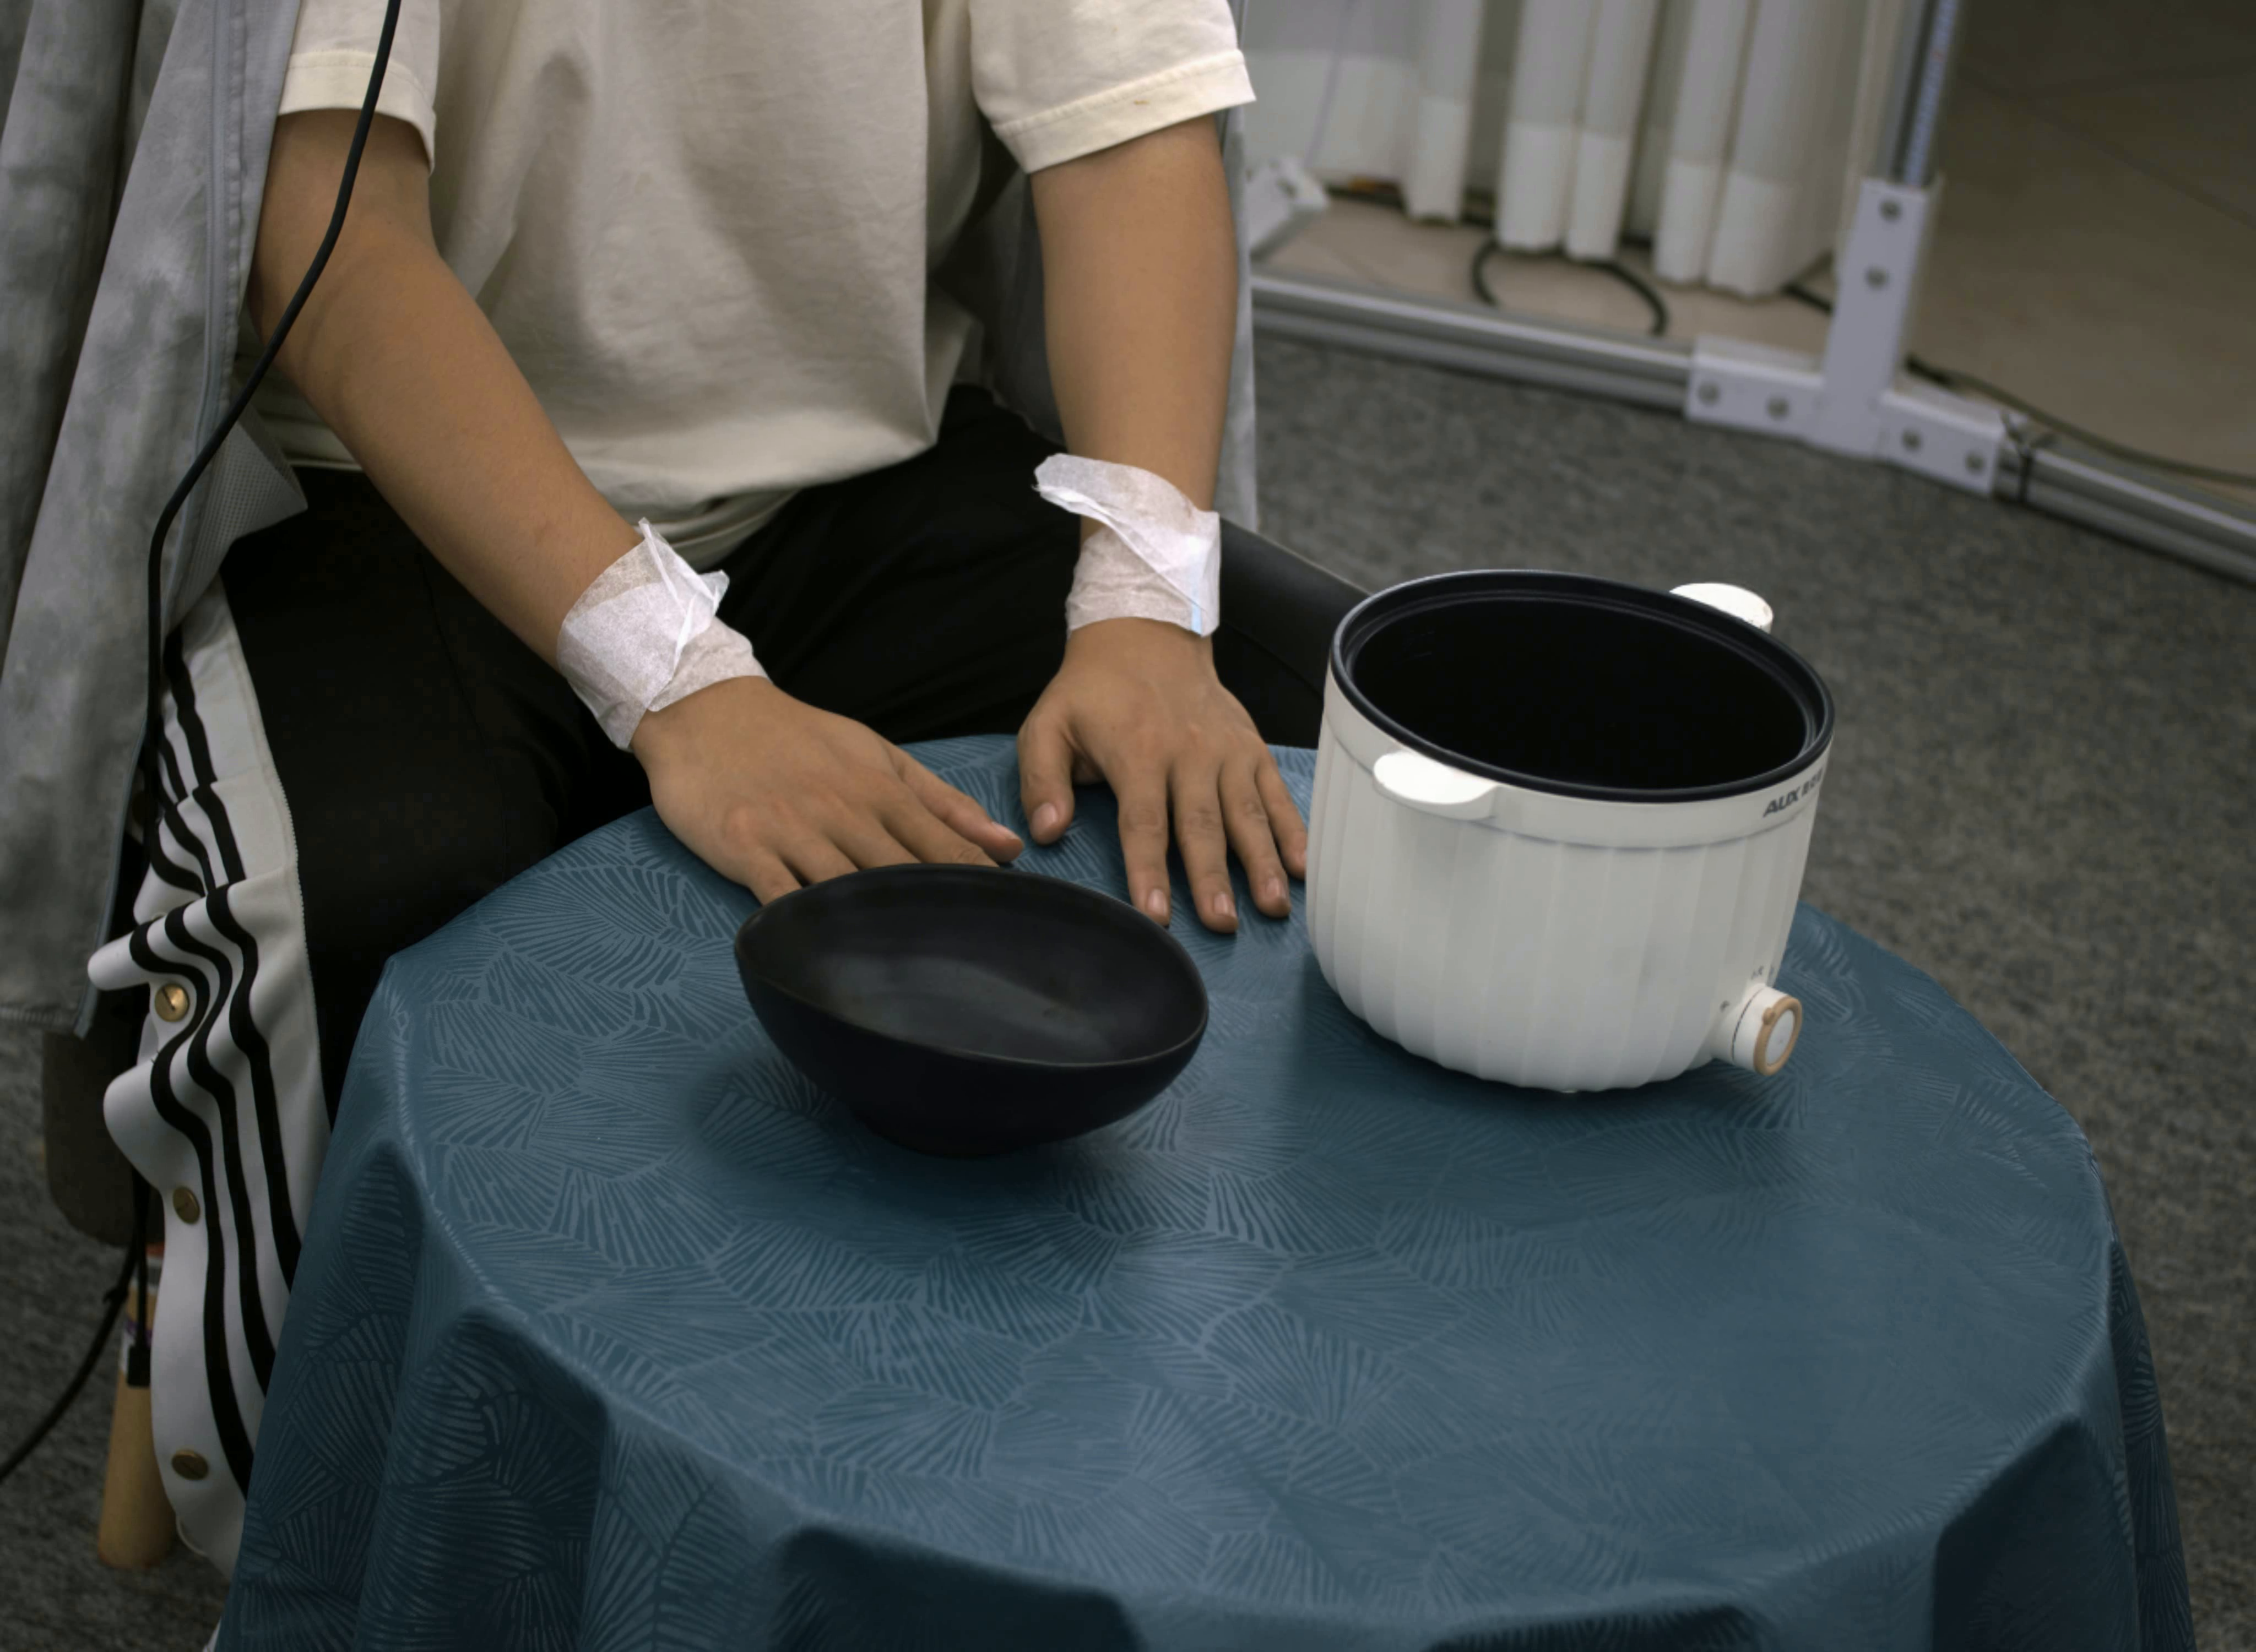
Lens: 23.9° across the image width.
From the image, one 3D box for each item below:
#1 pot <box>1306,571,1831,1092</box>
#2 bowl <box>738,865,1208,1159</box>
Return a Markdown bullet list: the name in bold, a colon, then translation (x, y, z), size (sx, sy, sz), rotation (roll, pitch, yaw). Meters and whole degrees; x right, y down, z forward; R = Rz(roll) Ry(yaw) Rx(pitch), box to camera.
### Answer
- **pot**: translation (0.159, 0.007, 1.918), size (0.191, 0.142, 0.240), rotation (19, 30, 30)
- **bowl**: translation (-0.057, 0.071, 1.824), size (0.171, 0.066, 0.137), rotation (16, 27, 20)
